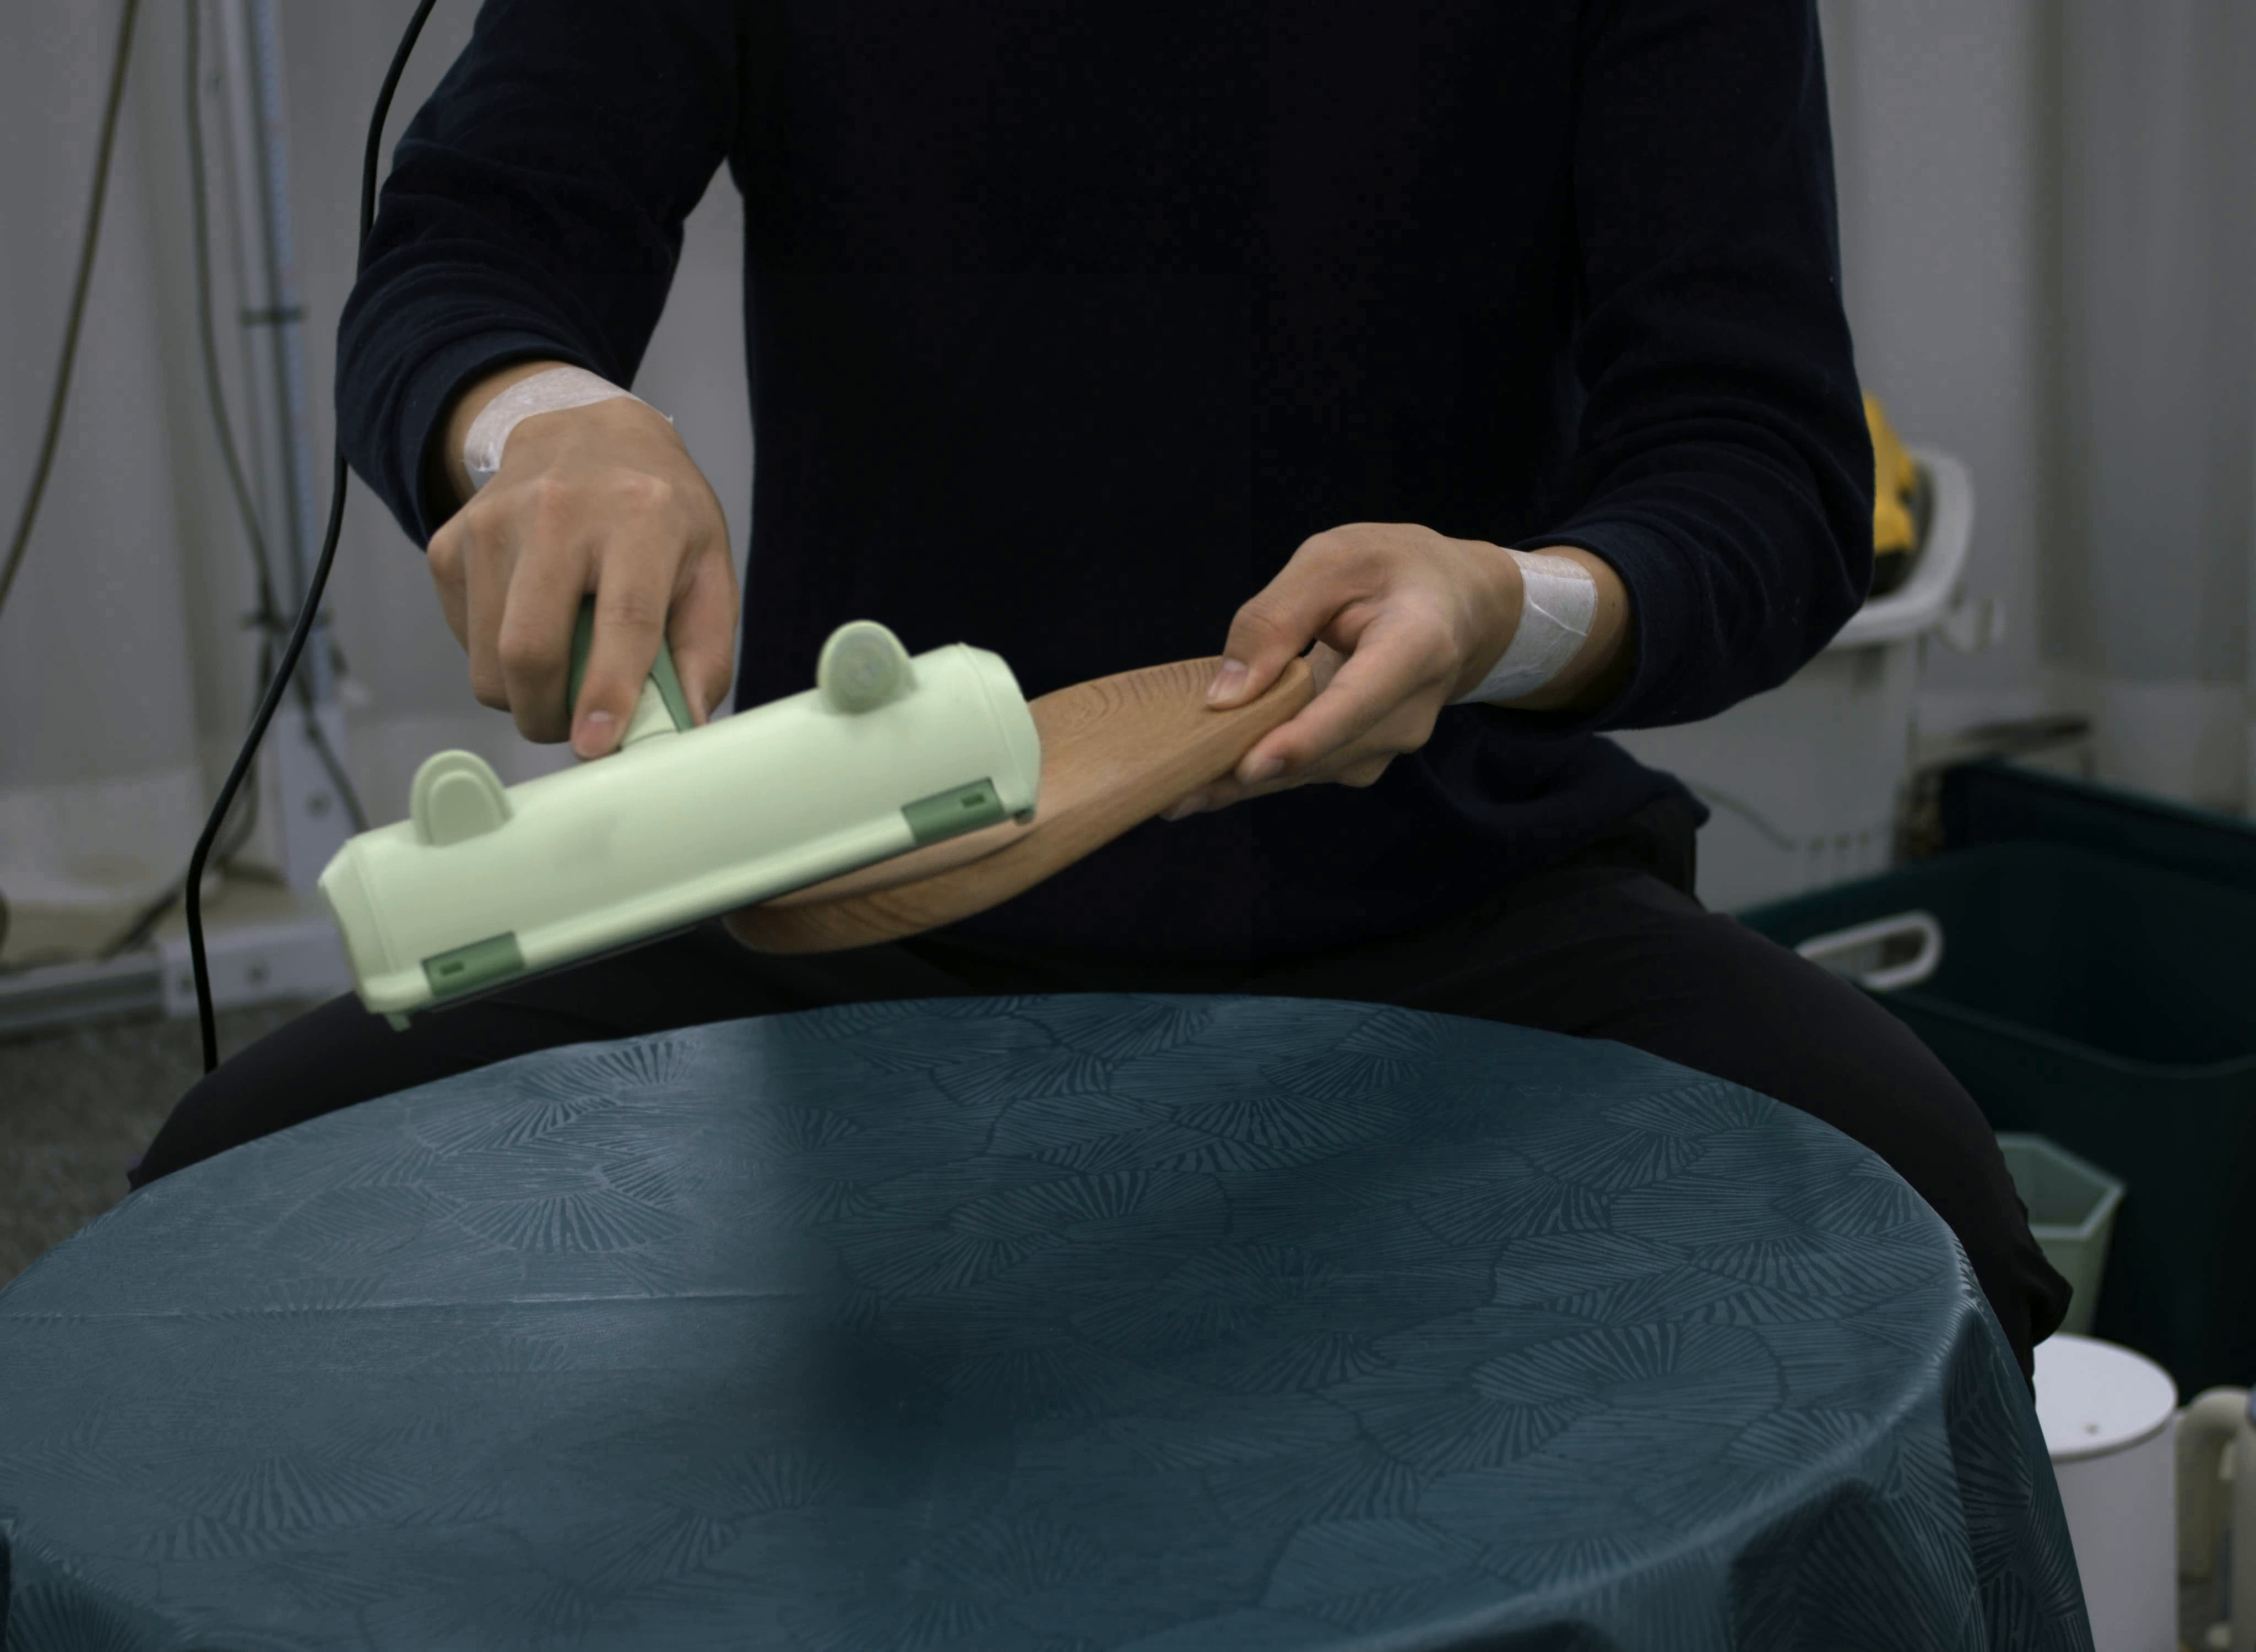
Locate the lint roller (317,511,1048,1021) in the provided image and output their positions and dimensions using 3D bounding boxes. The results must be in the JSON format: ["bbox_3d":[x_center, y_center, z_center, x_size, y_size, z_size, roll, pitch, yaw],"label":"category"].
[{"bbox_3d":[-0.141,-0.043,1.523,0.198,0.081,0.186,-18,50,-10],"label":"lint roller"}]

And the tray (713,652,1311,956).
[{"bbox_3d":[-0.030,-0.008,1.574,0.102,0.020,0.232,-5,18,37],"label":"tray"}]
